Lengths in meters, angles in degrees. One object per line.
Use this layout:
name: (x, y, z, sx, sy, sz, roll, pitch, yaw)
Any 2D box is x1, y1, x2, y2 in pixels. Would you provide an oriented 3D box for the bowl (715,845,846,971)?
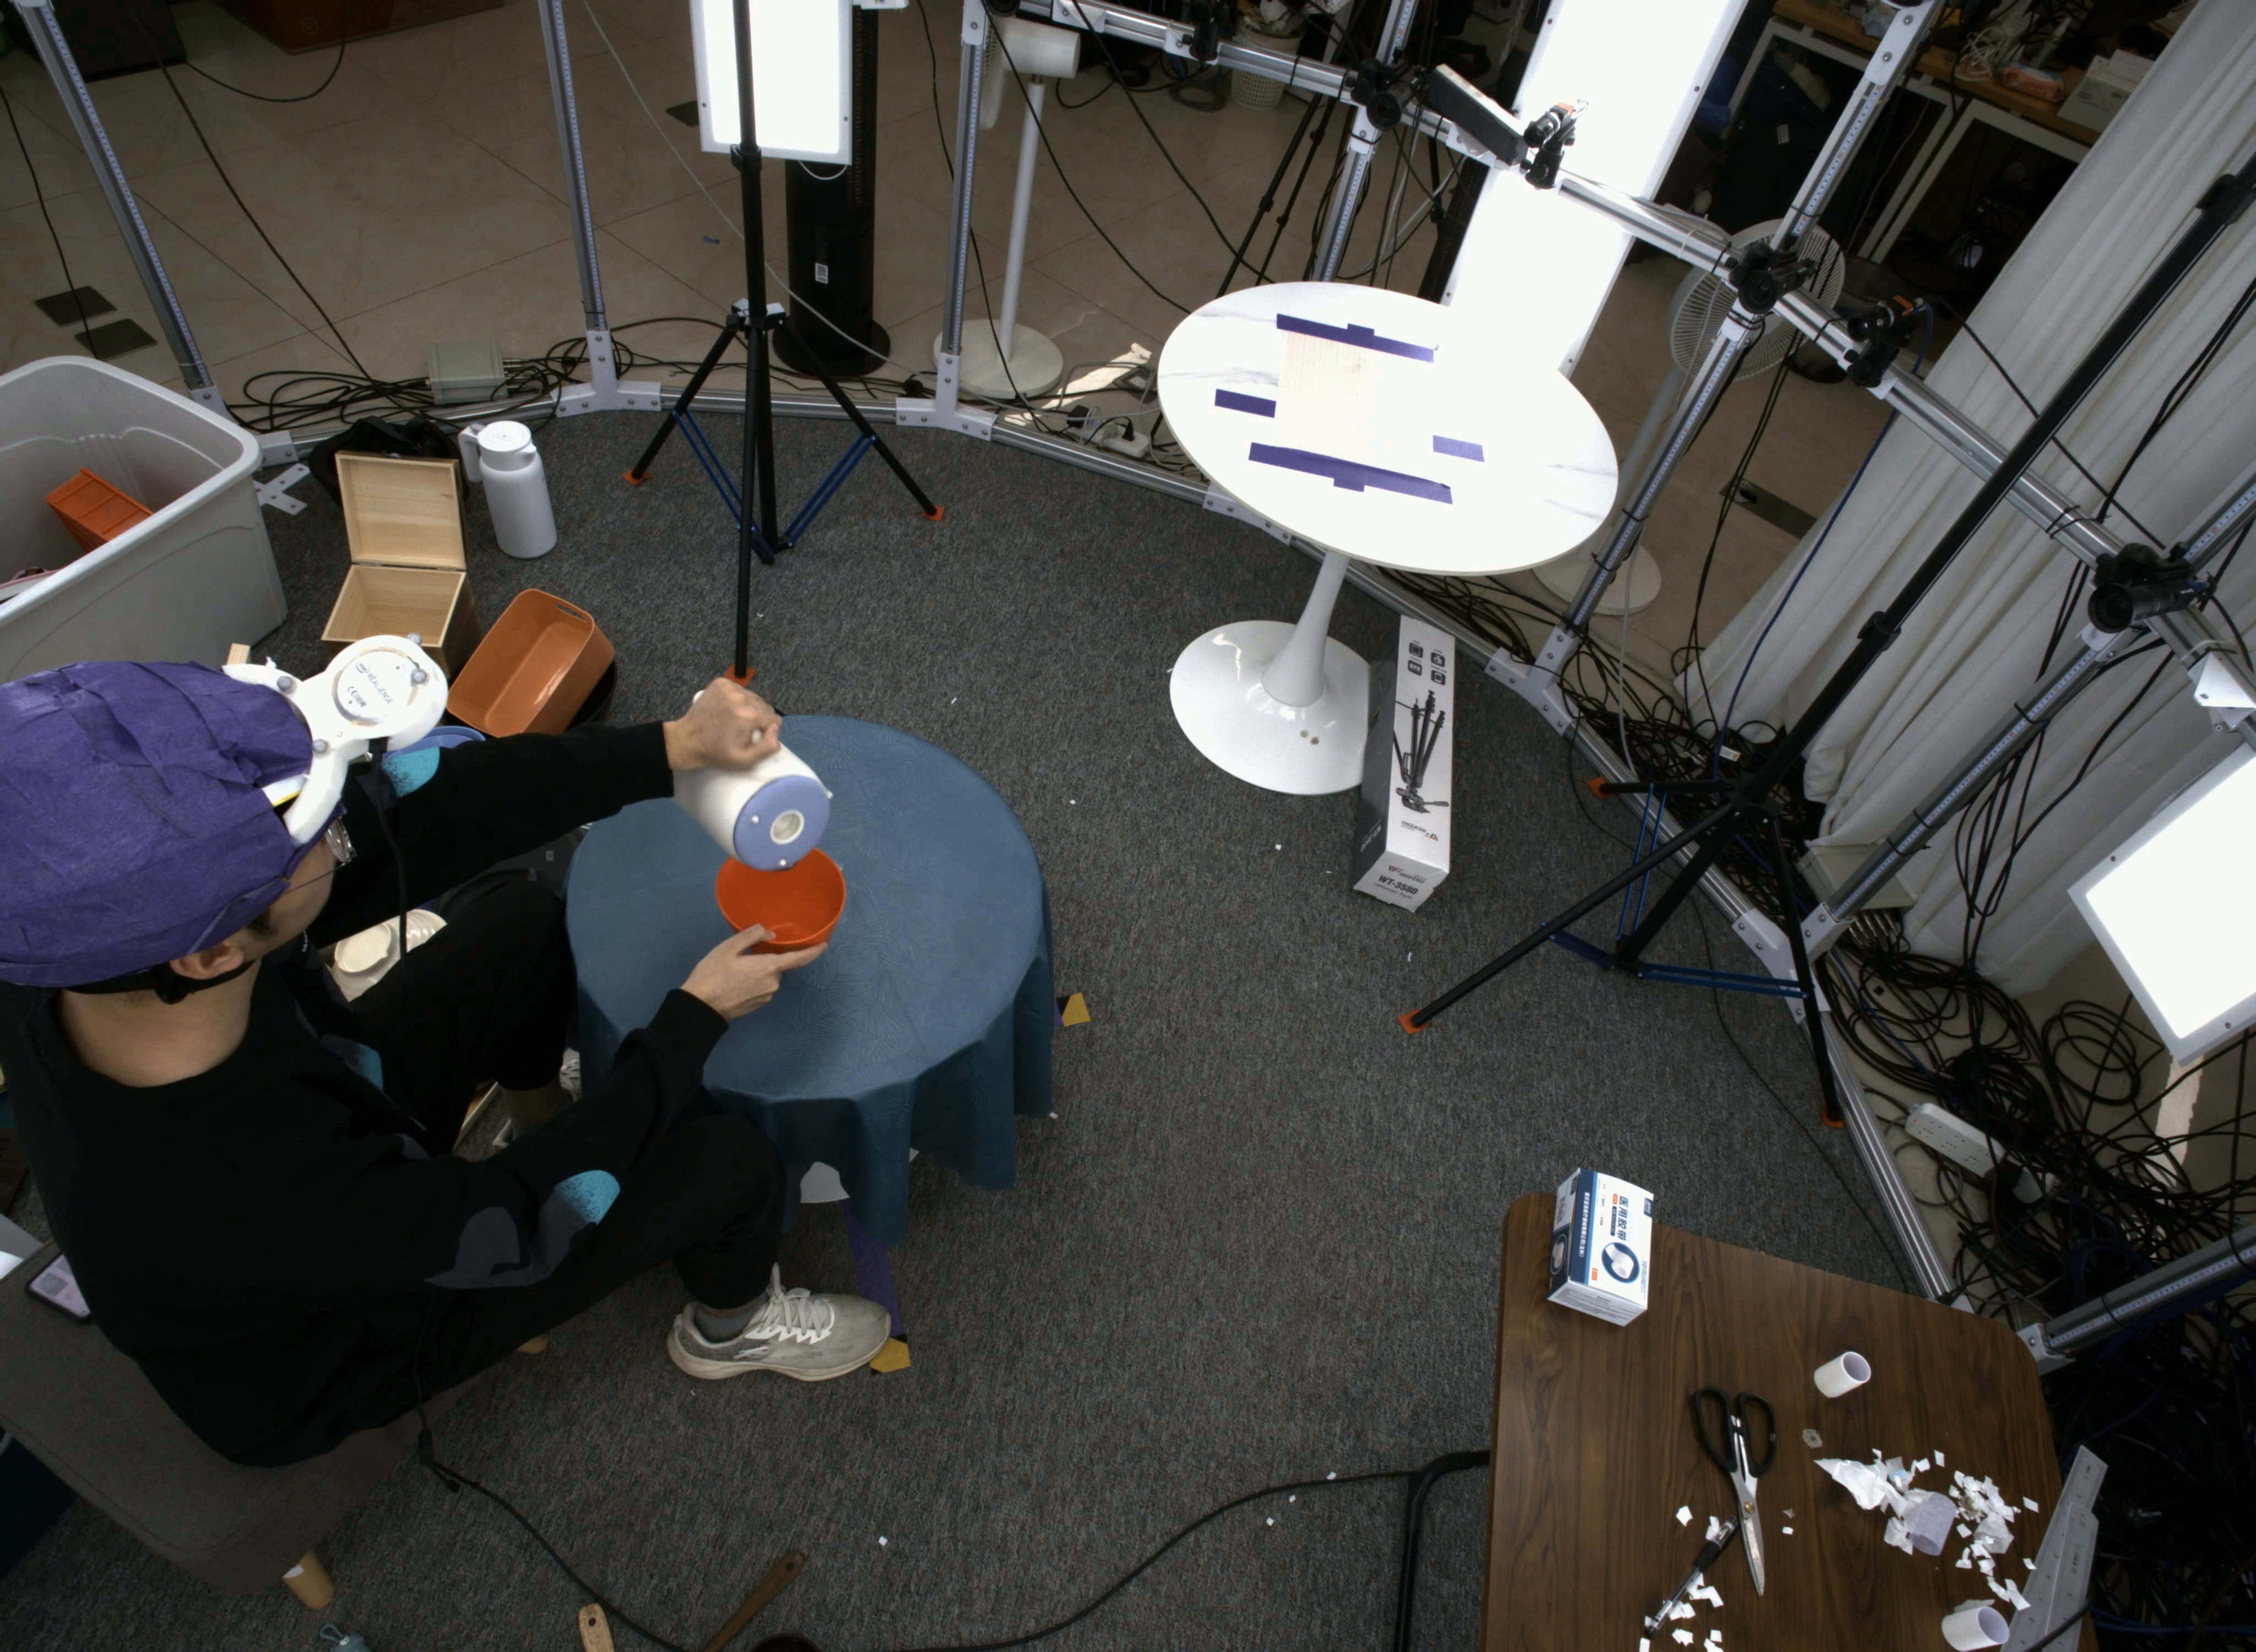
bowl: (-0.405, 0.101, 1.523, 0.147, 0.107, 0.145, 7, 42, -5)

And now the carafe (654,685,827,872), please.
carafe: (-0.432, -0.064, 1.422, 0.132, 0.197, 0.176, -33, 51, -32)
